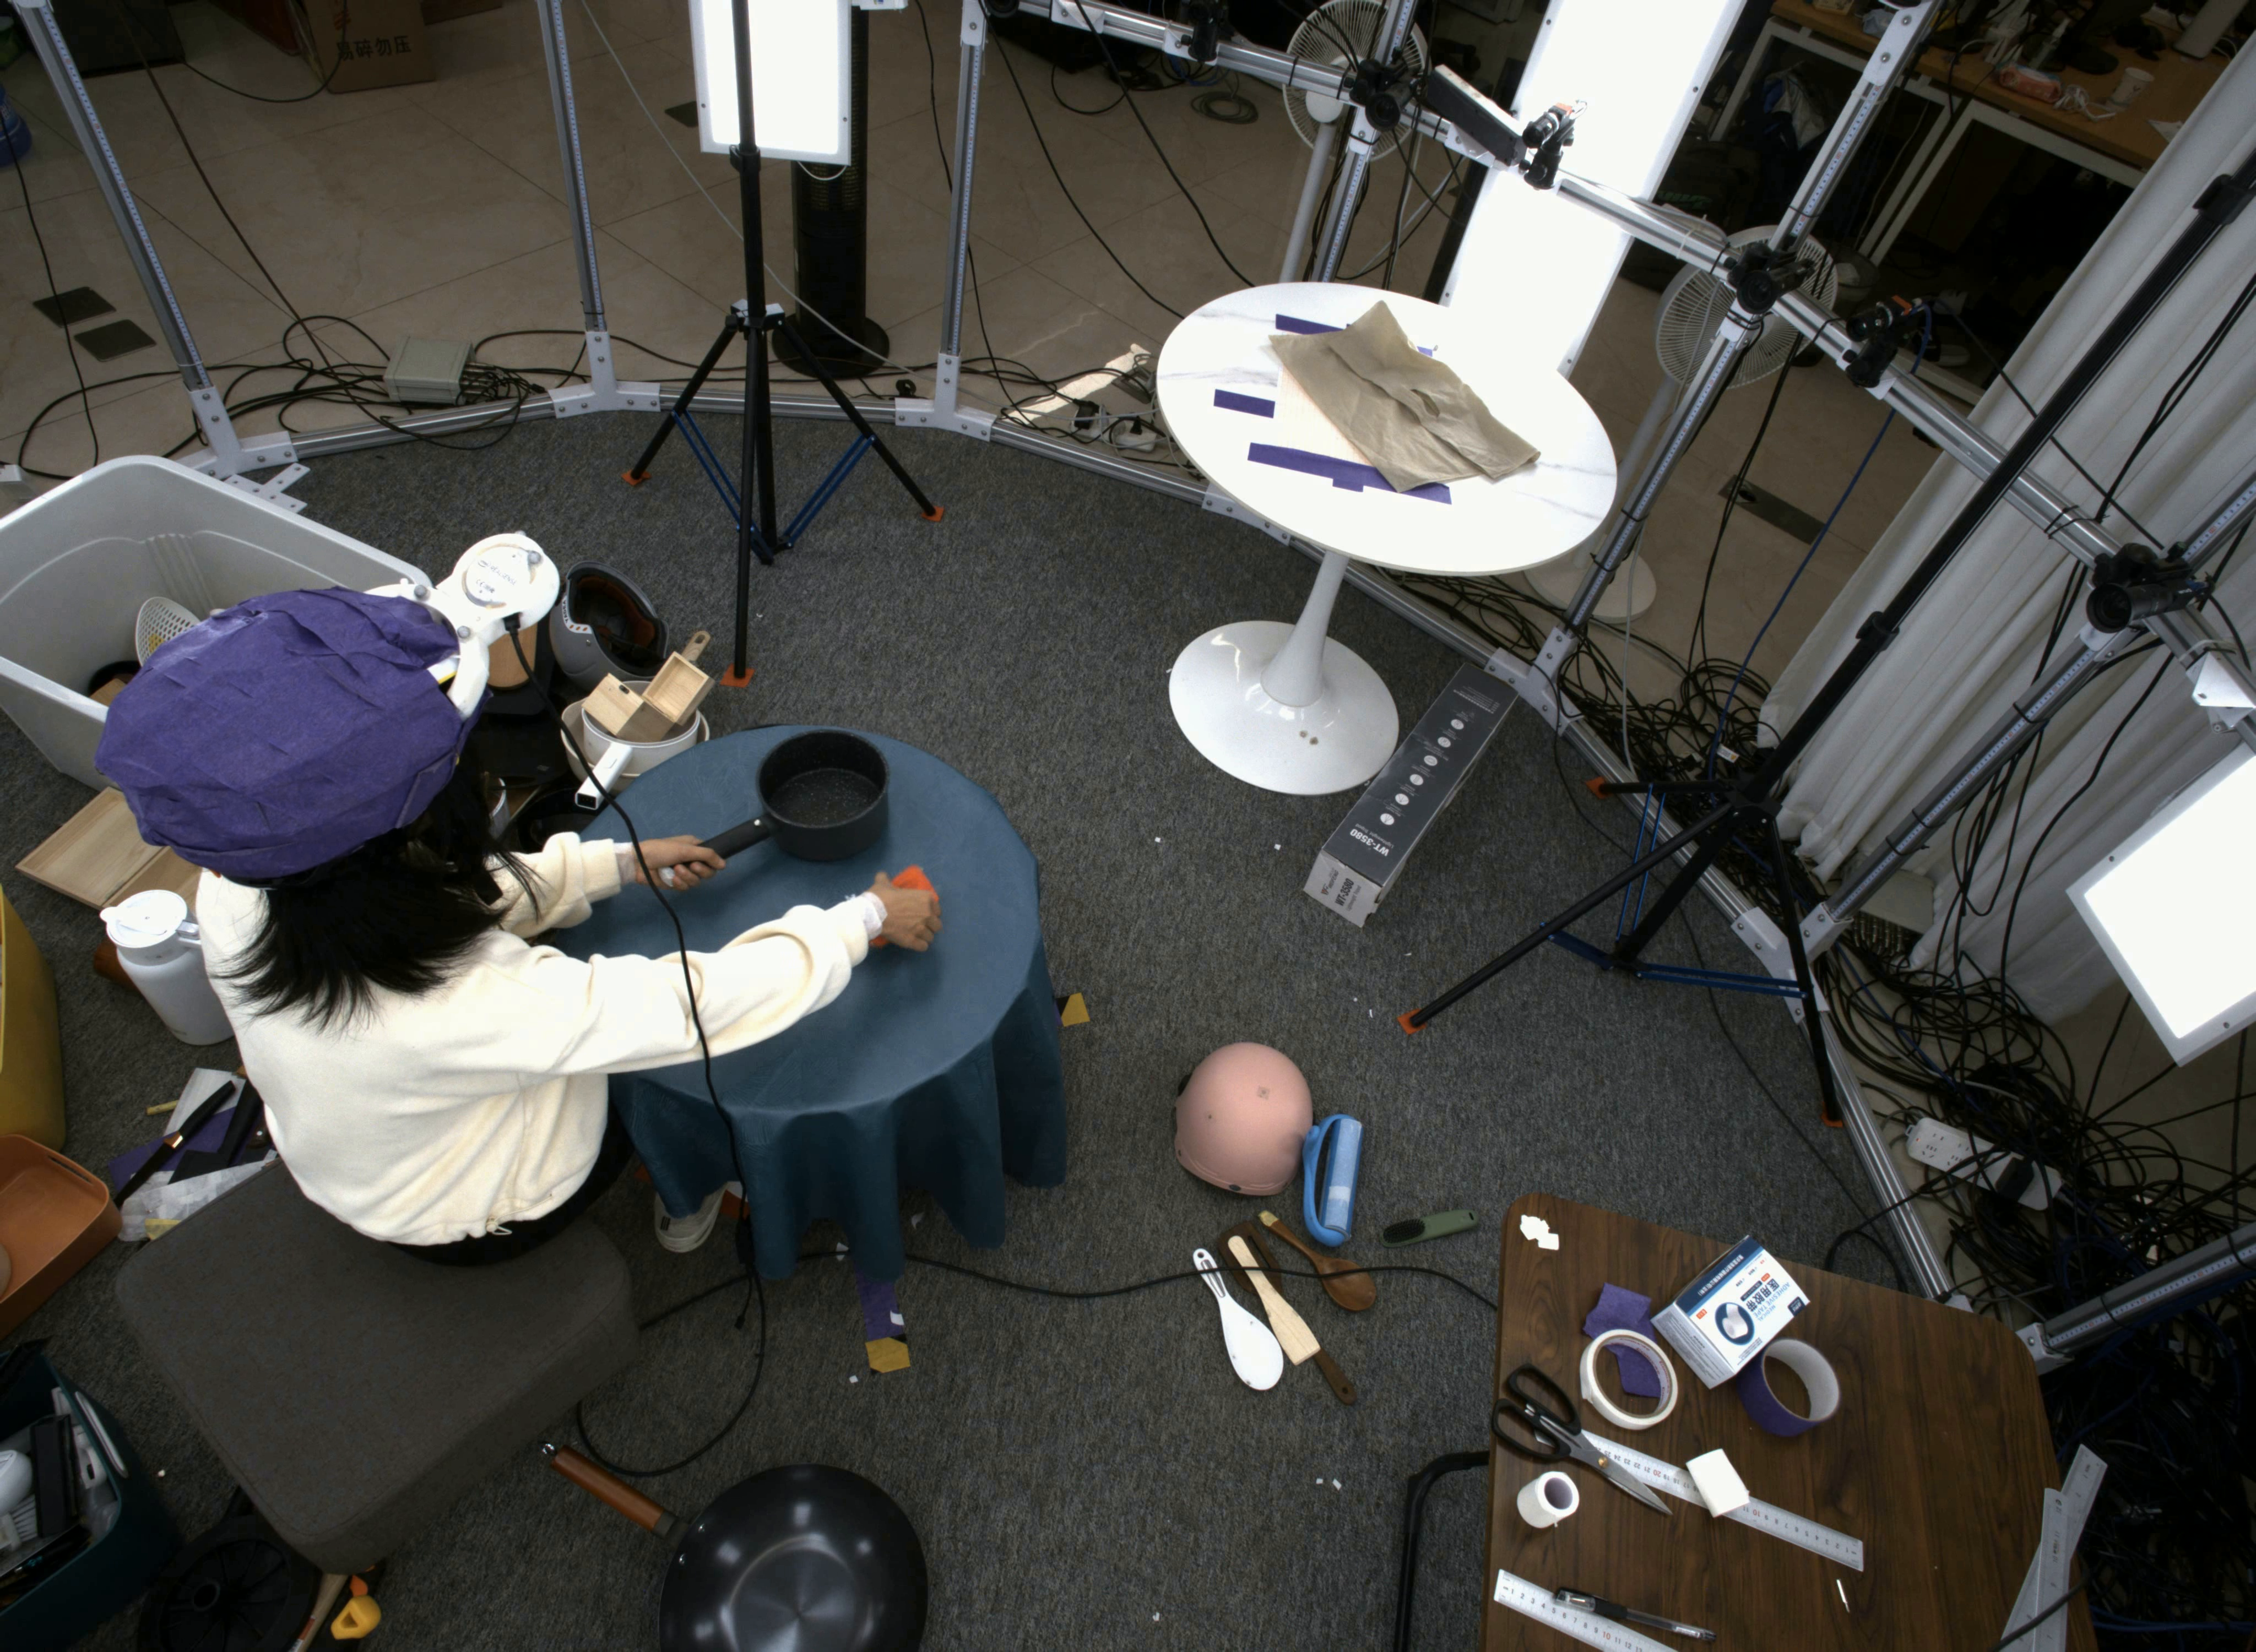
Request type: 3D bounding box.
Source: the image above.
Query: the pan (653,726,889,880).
[{"bbox_3d":[-0.454,-0.005,1.658,0.167,0.088,0.329,41,54,22],"label":"pan"}]

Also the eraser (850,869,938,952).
[{"bbox_3d":[-0.292,0.104,1.626,0.108,0.022,0.060,-41,98,-37],"label":"eraser"}]
